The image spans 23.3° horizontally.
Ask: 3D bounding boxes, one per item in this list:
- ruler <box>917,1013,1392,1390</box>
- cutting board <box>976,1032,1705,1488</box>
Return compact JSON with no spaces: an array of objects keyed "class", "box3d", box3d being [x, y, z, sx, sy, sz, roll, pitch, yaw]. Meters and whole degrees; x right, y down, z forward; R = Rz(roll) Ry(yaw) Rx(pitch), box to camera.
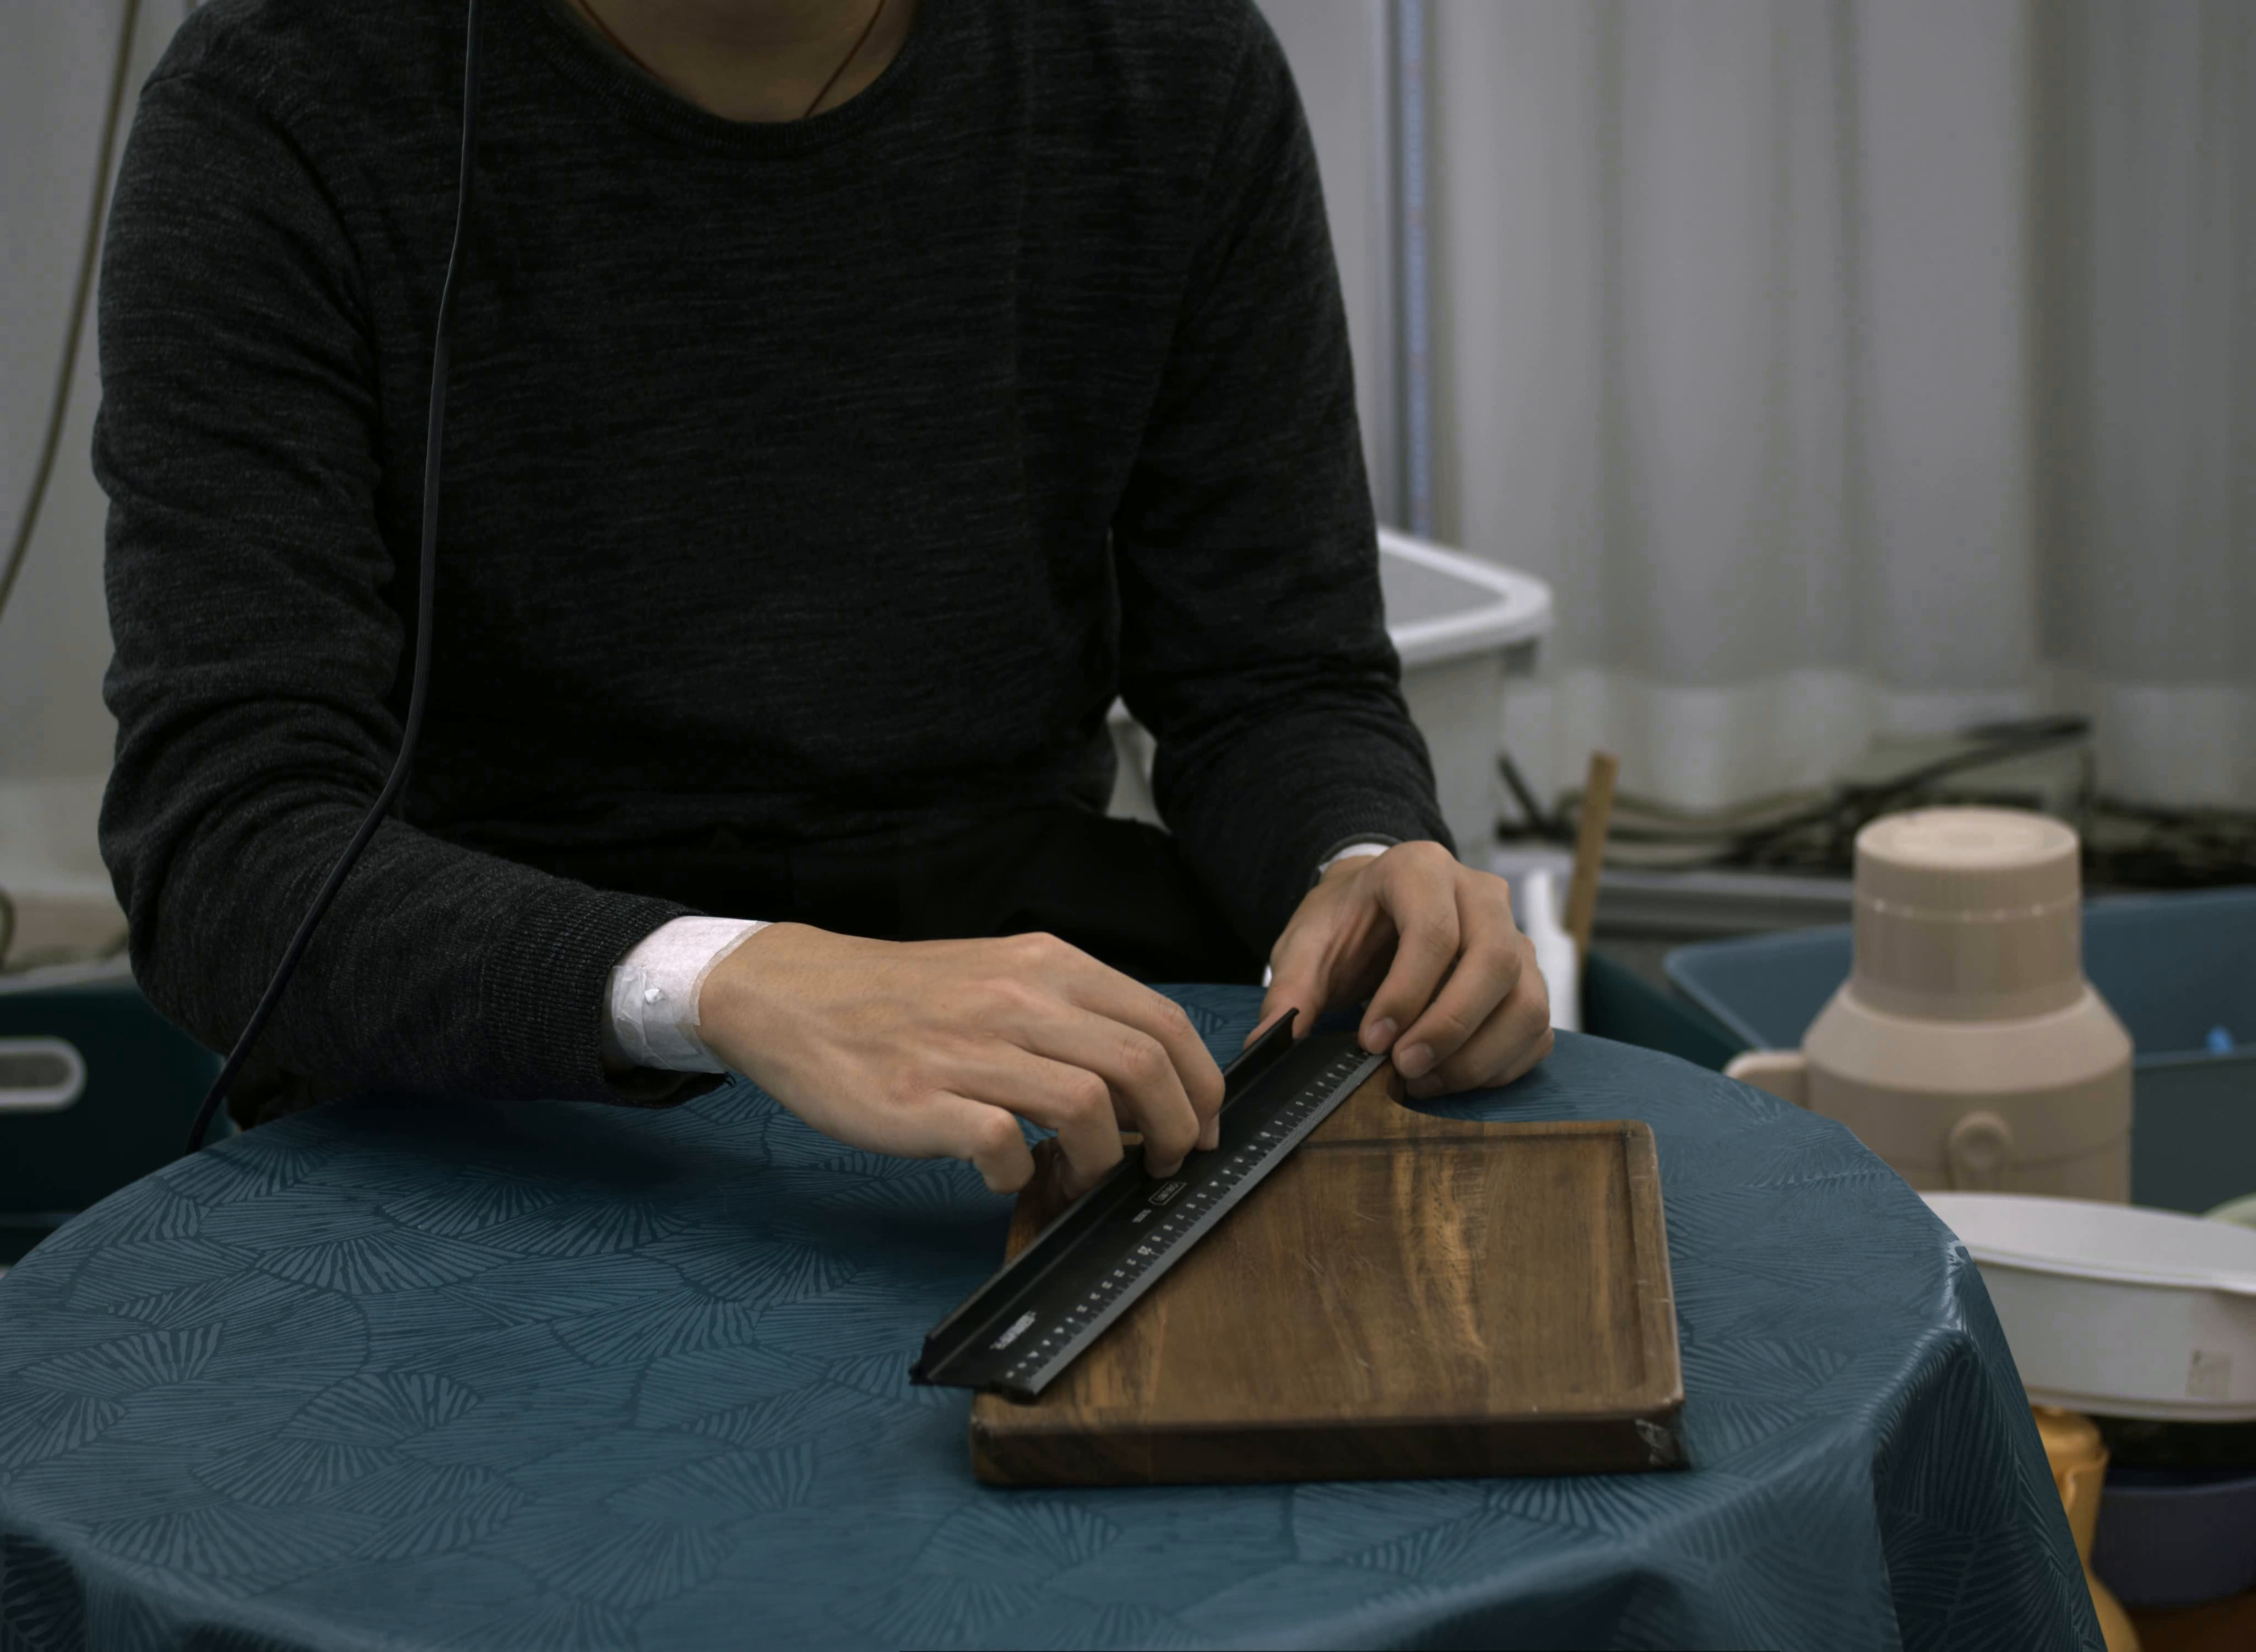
[{"class":"ruler","box3d":[0.013,0.108,1.632,0.039,0.017,0.313,5,16,20]},{"class":"cutting board","box3d":[0.063,0.122,1.633,0.200,0.023,0.354,-2,14,3]}]
